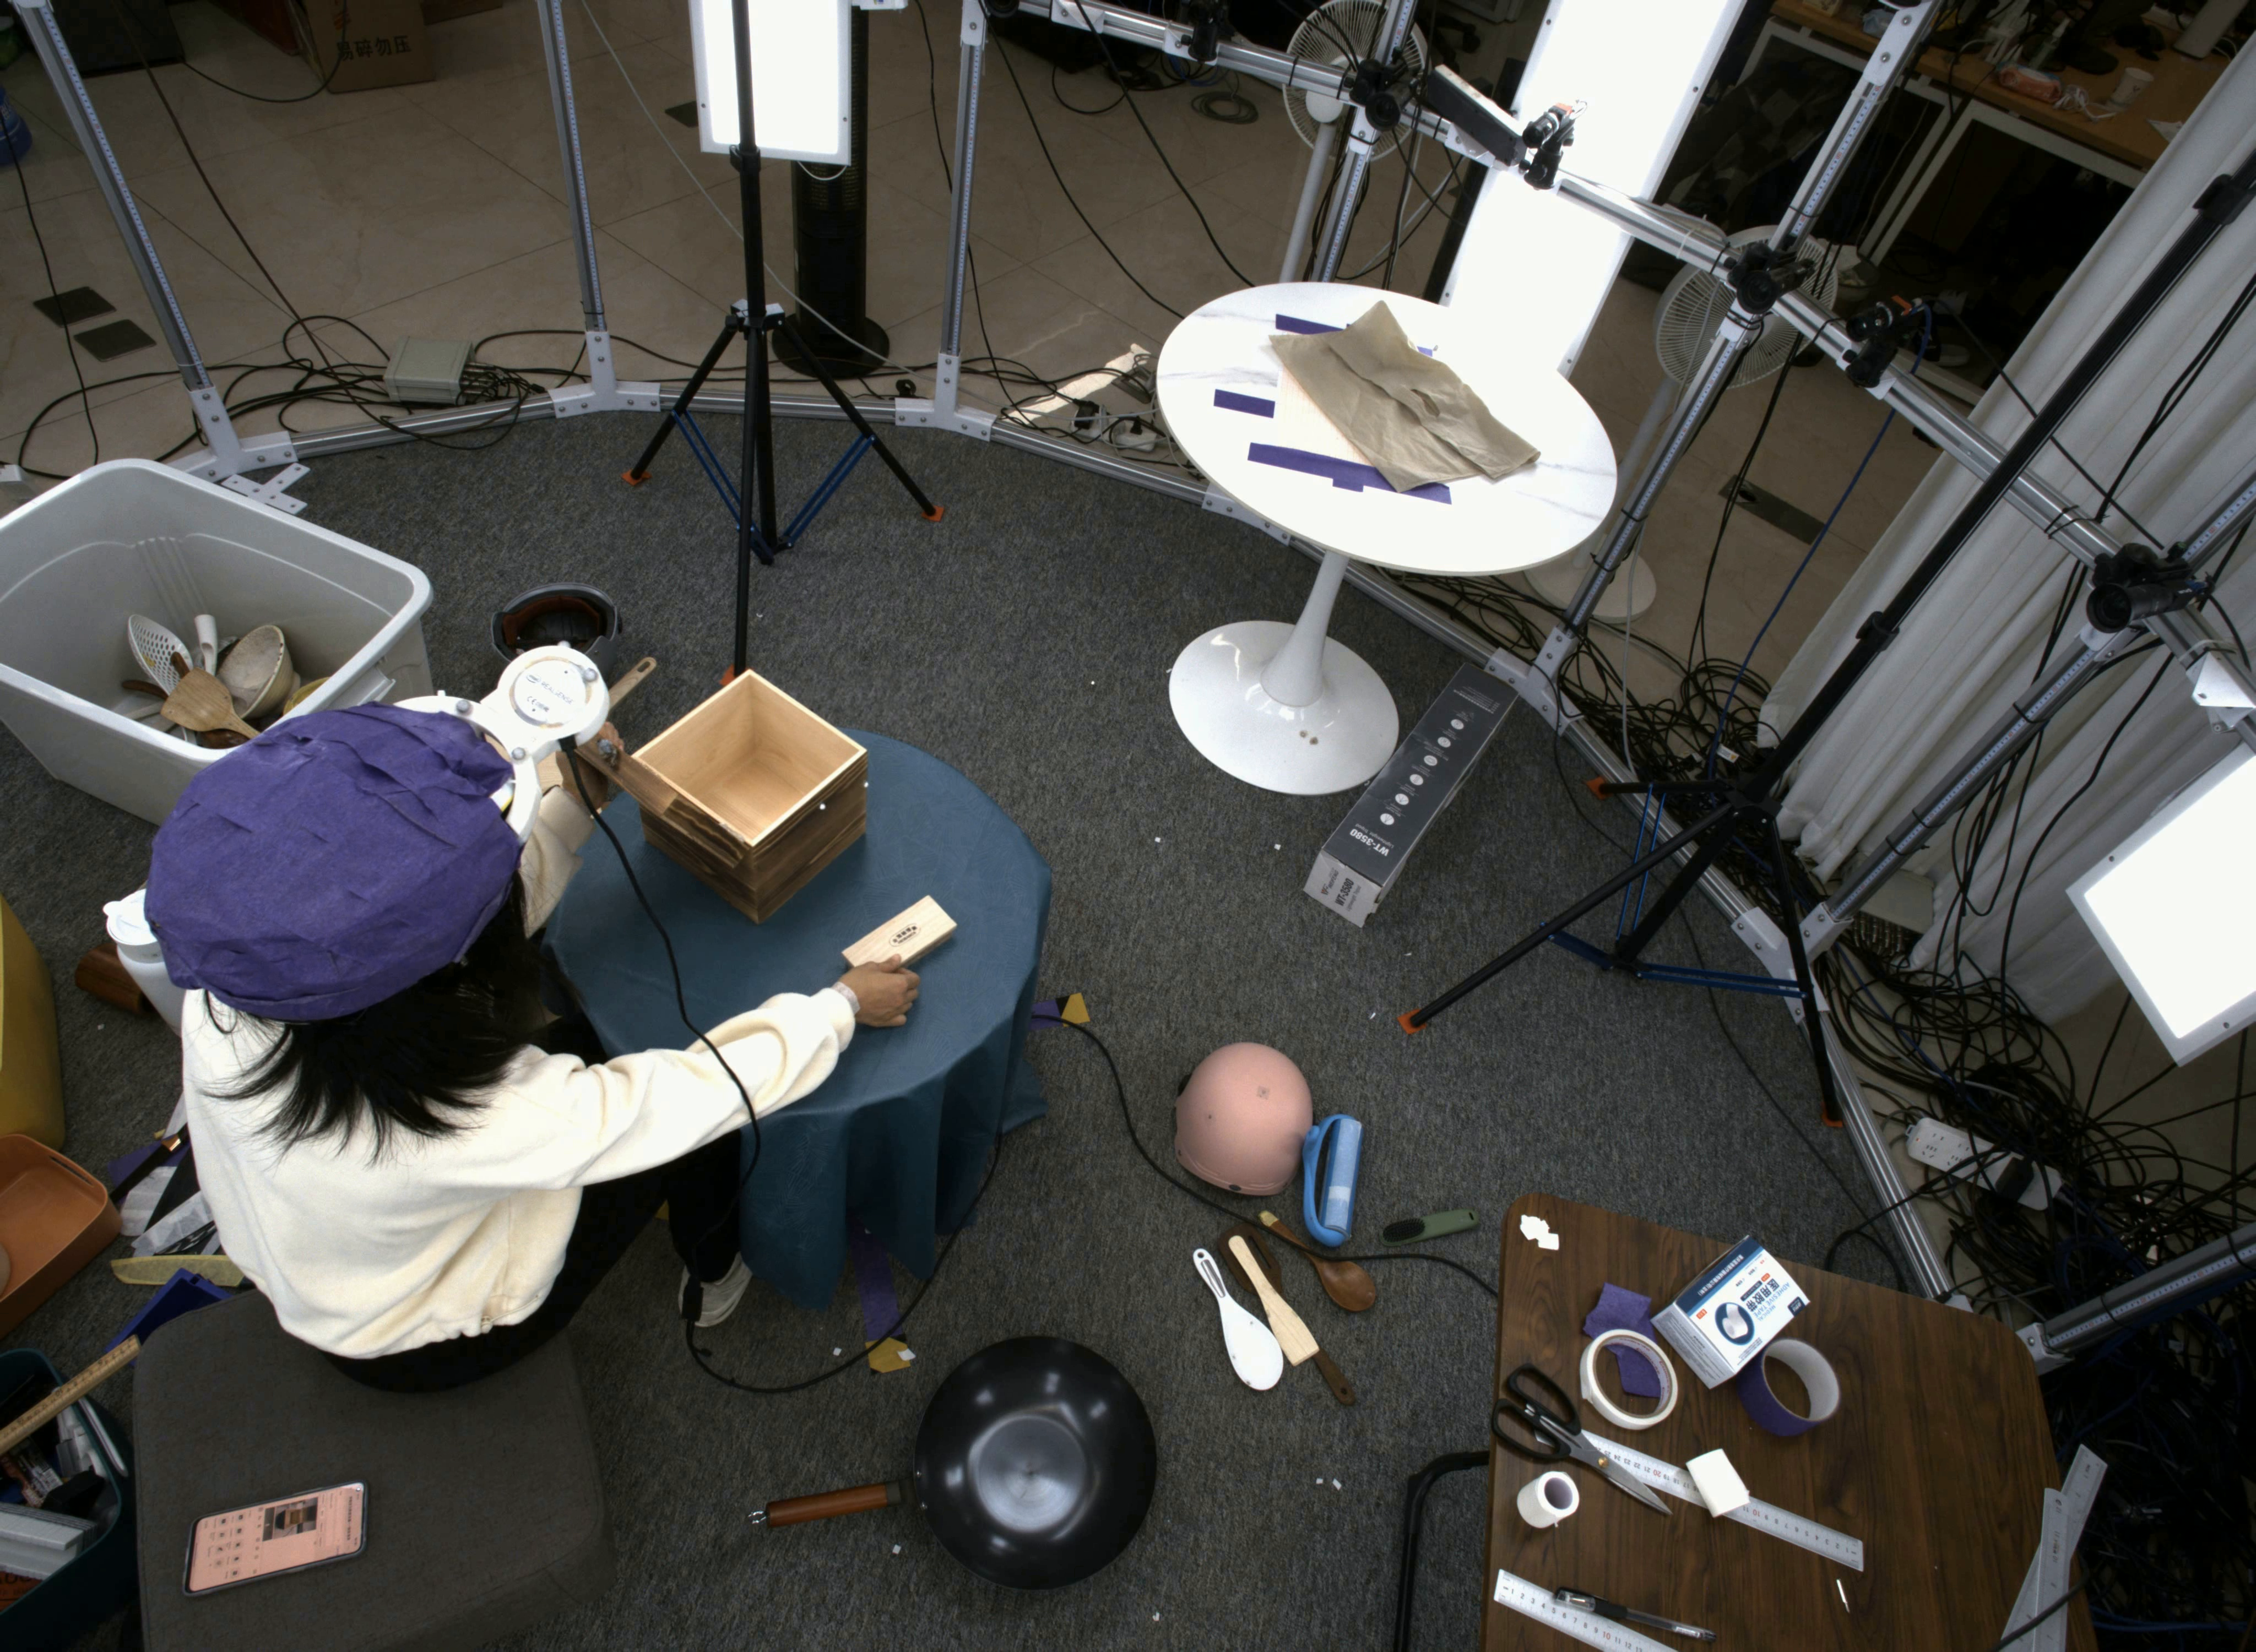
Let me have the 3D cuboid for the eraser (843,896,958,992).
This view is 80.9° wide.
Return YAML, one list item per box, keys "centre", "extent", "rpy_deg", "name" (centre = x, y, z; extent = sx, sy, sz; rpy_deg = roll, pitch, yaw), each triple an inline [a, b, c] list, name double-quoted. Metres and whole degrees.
- centre: [-0.284, 0.145, 1.628]
  extent: [0.139, 0.029, 0.056]
  rpy_deg: [-34, 71, -32]
  name: "eraser"

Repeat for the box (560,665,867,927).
- centre: [-0.484, -0.070, 1.520]
  extent: [0.205, 0.383, 0.321]
  rpy_deg: [32, 53, 13]
  name: "box"
